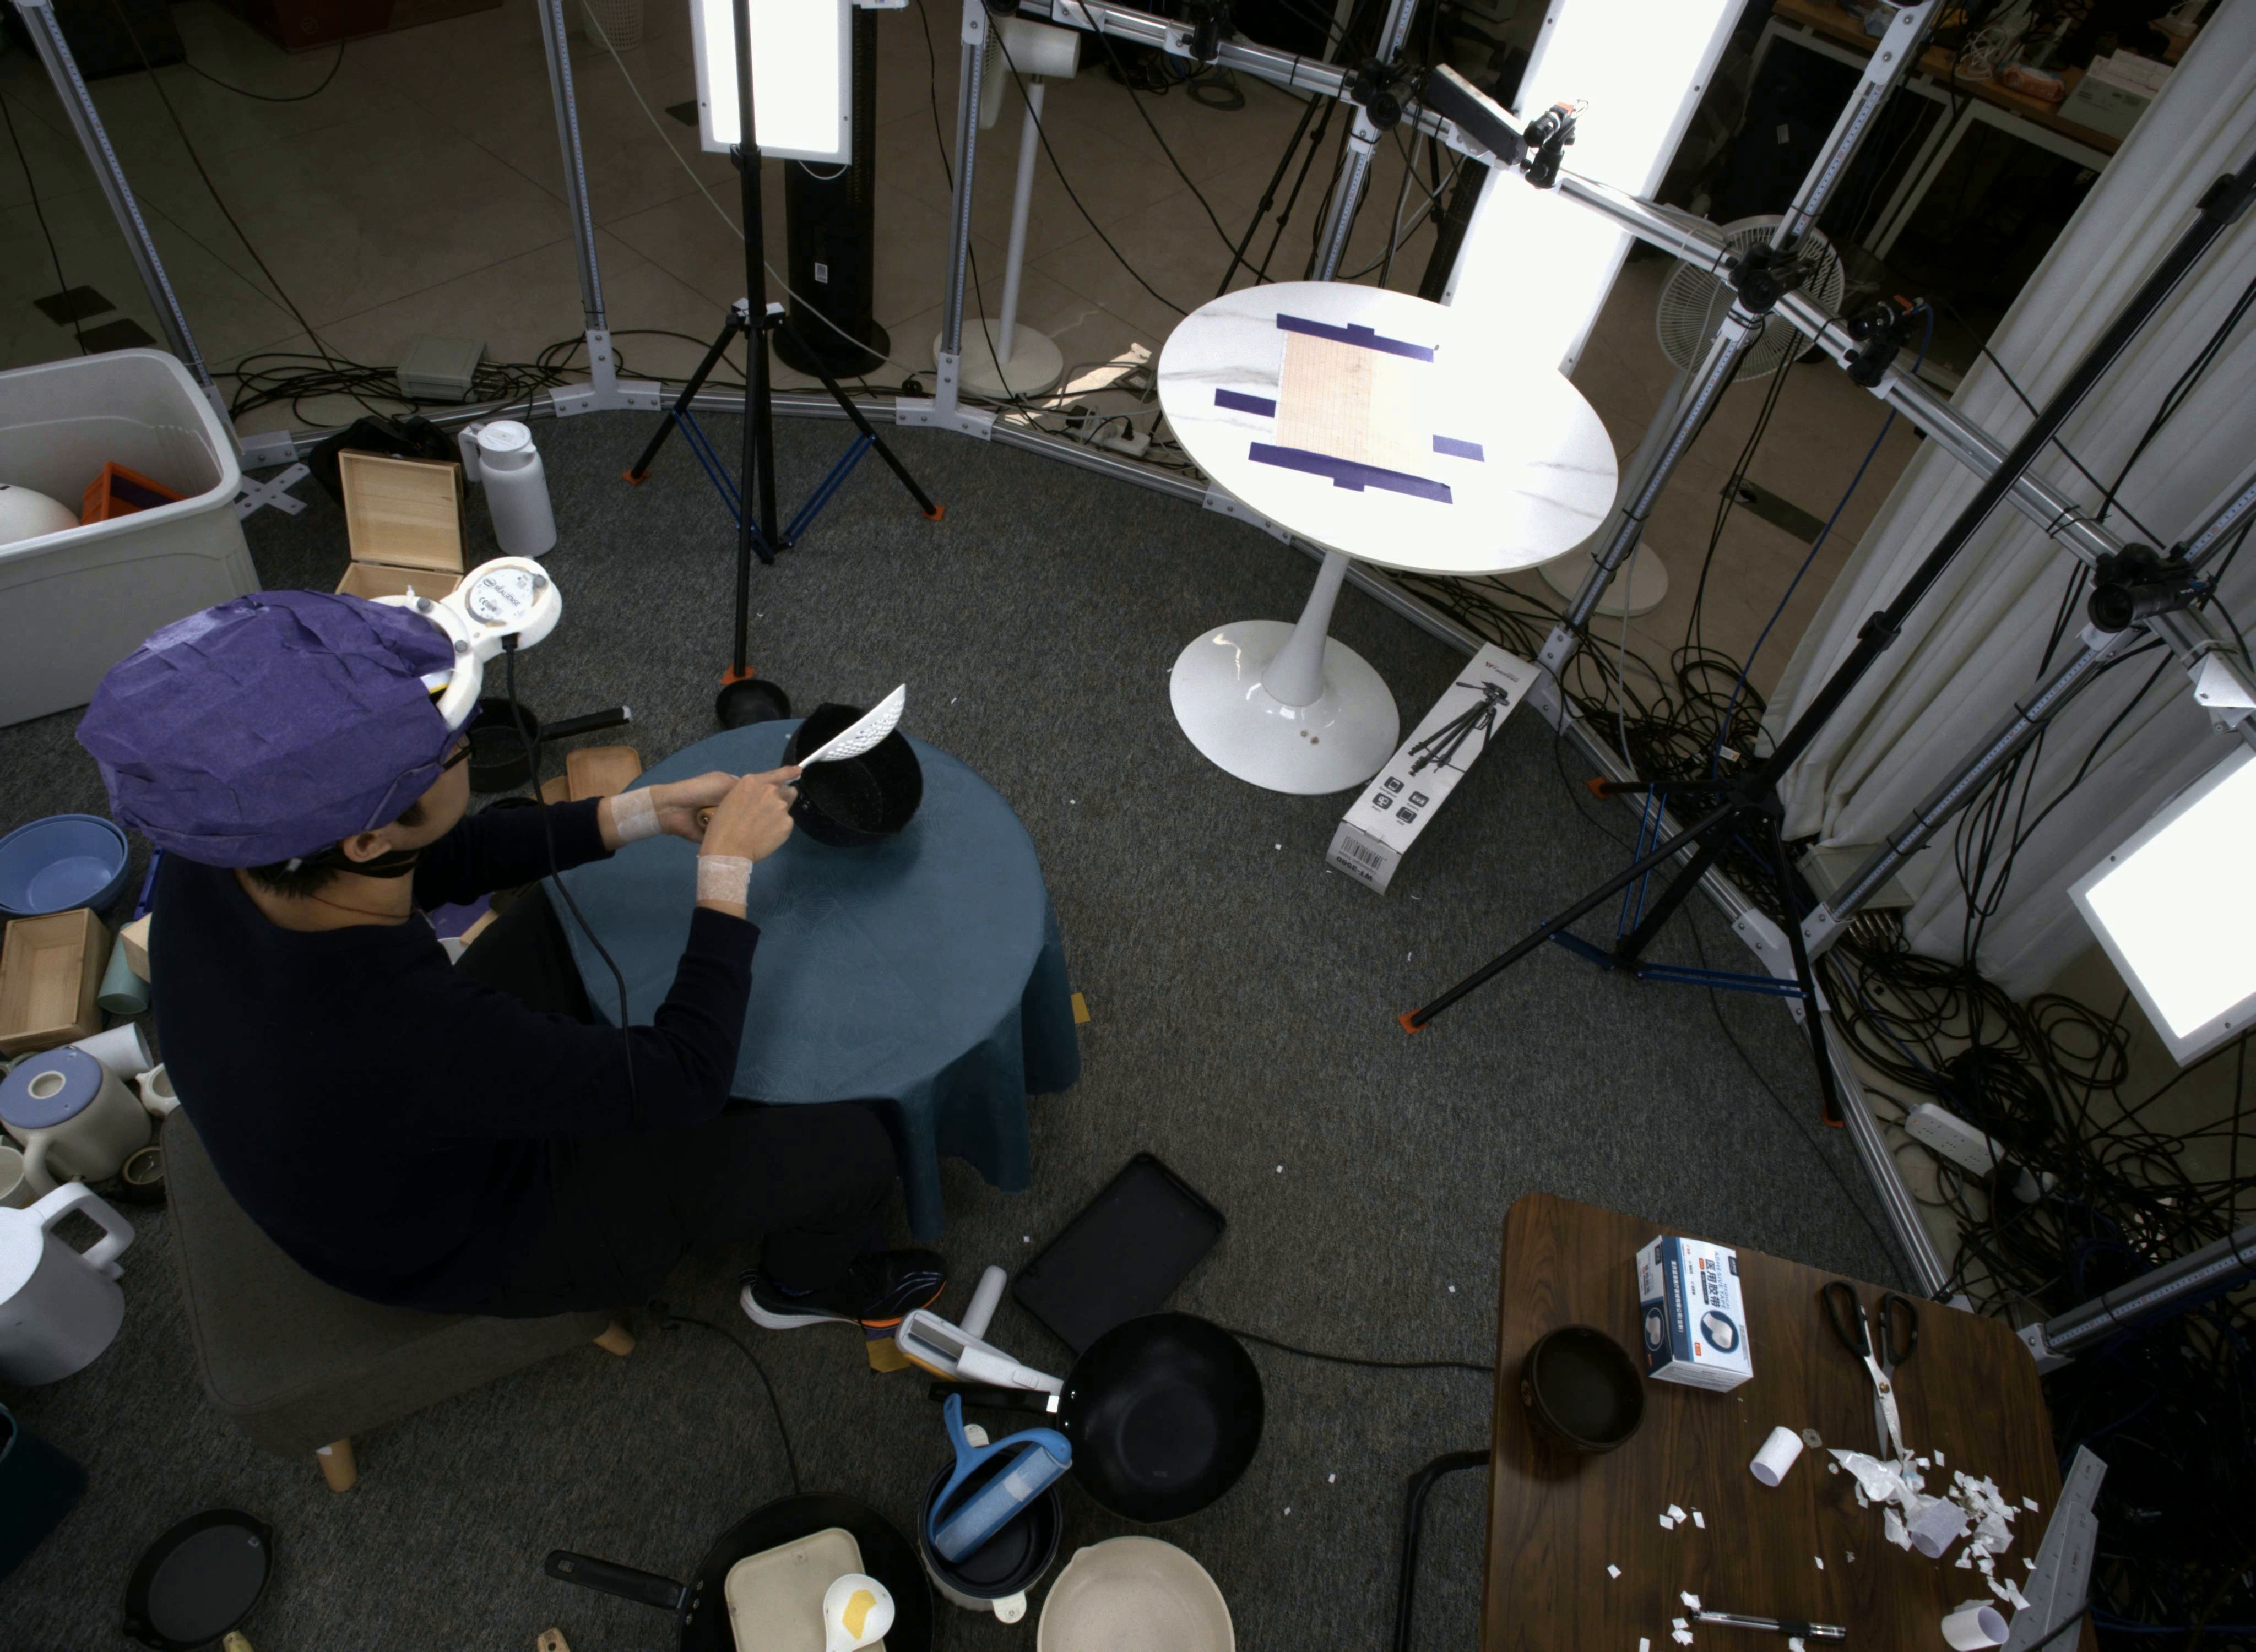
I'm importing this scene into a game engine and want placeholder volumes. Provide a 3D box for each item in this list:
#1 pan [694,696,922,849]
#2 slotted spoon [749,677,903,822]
[{"bbox_3d":[-0.409,-0.040,1.615,0.345,0.107,0.208,-28,87,-50],"label":"pan"},{"bbox_3d":[-0.366,-0.086,1.548,0.051,0.135,0.347,53,30,-6],"label":"slotted spoon"}]
